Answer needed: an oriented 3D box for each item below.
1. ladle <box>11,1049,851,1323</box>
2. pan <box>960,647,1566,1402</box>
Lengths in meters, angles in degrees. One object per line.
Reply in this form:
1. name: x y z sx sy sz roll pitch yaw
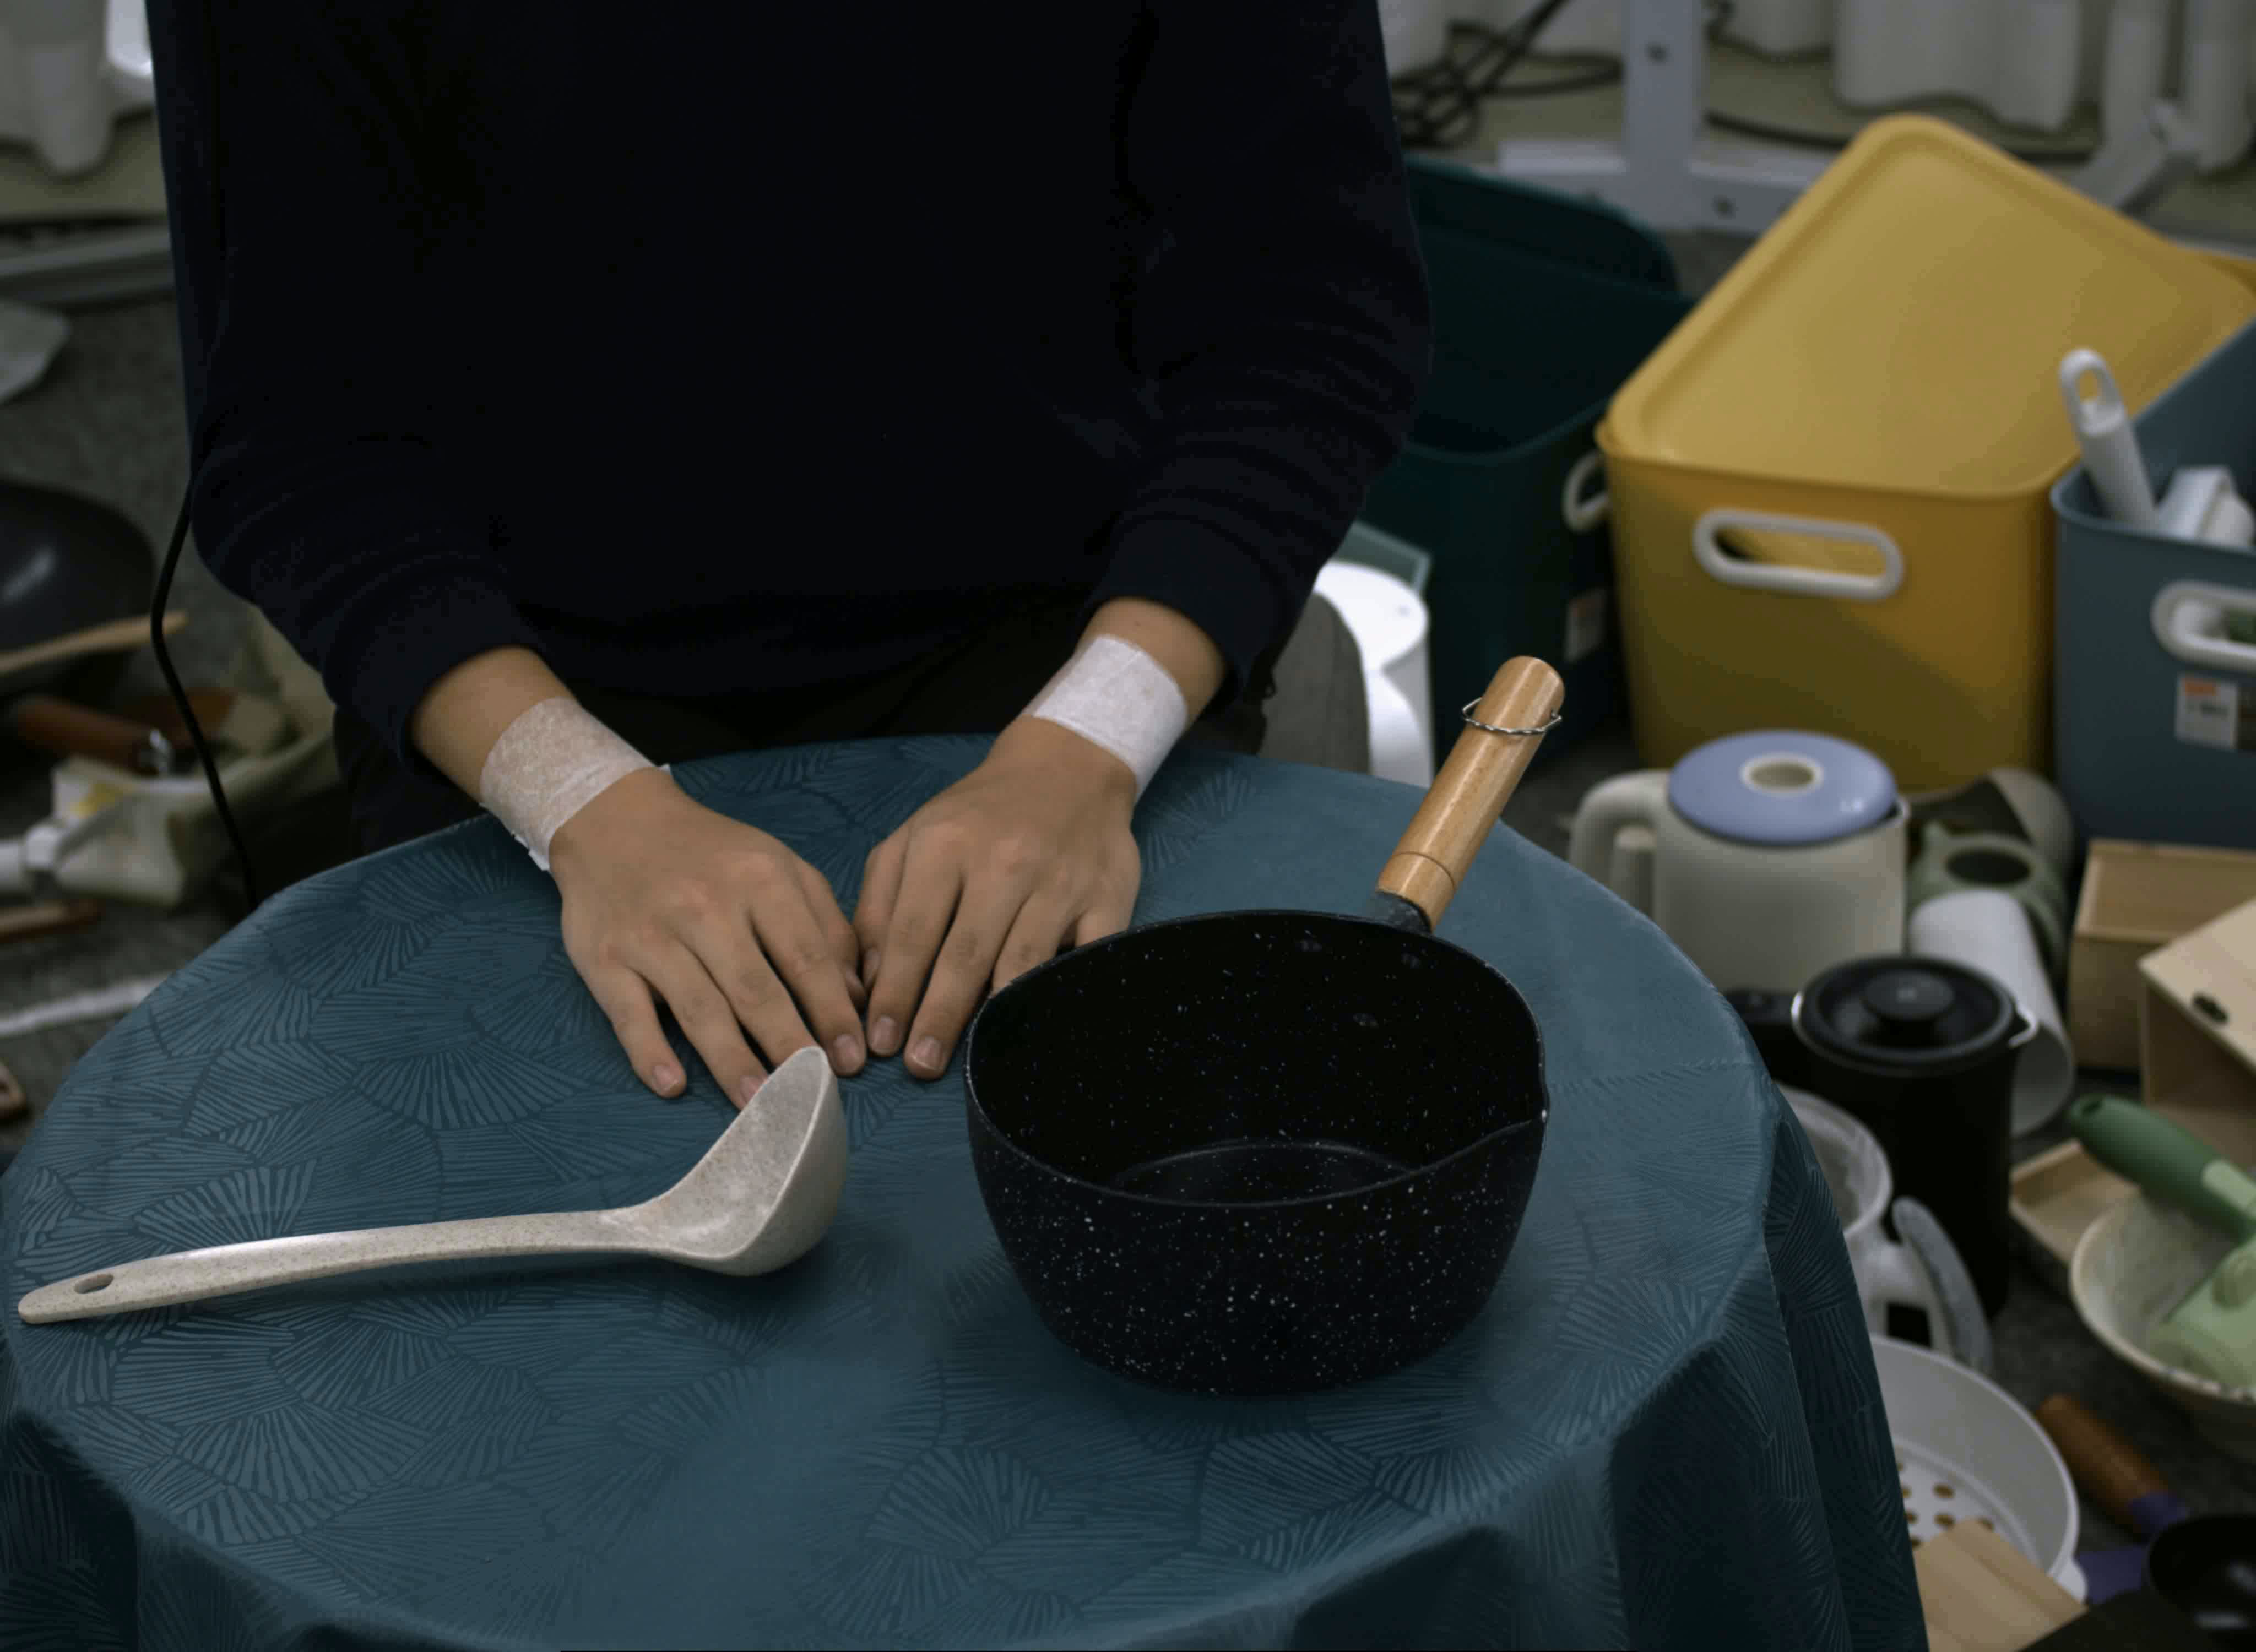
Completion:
1. ladle: -0.226 0.119 1.816 0.274 0.068 0.091 -4 31 -4
2. pan: 0.073 0.061 1.855 0.206 0.107 0.349 8 31 22
